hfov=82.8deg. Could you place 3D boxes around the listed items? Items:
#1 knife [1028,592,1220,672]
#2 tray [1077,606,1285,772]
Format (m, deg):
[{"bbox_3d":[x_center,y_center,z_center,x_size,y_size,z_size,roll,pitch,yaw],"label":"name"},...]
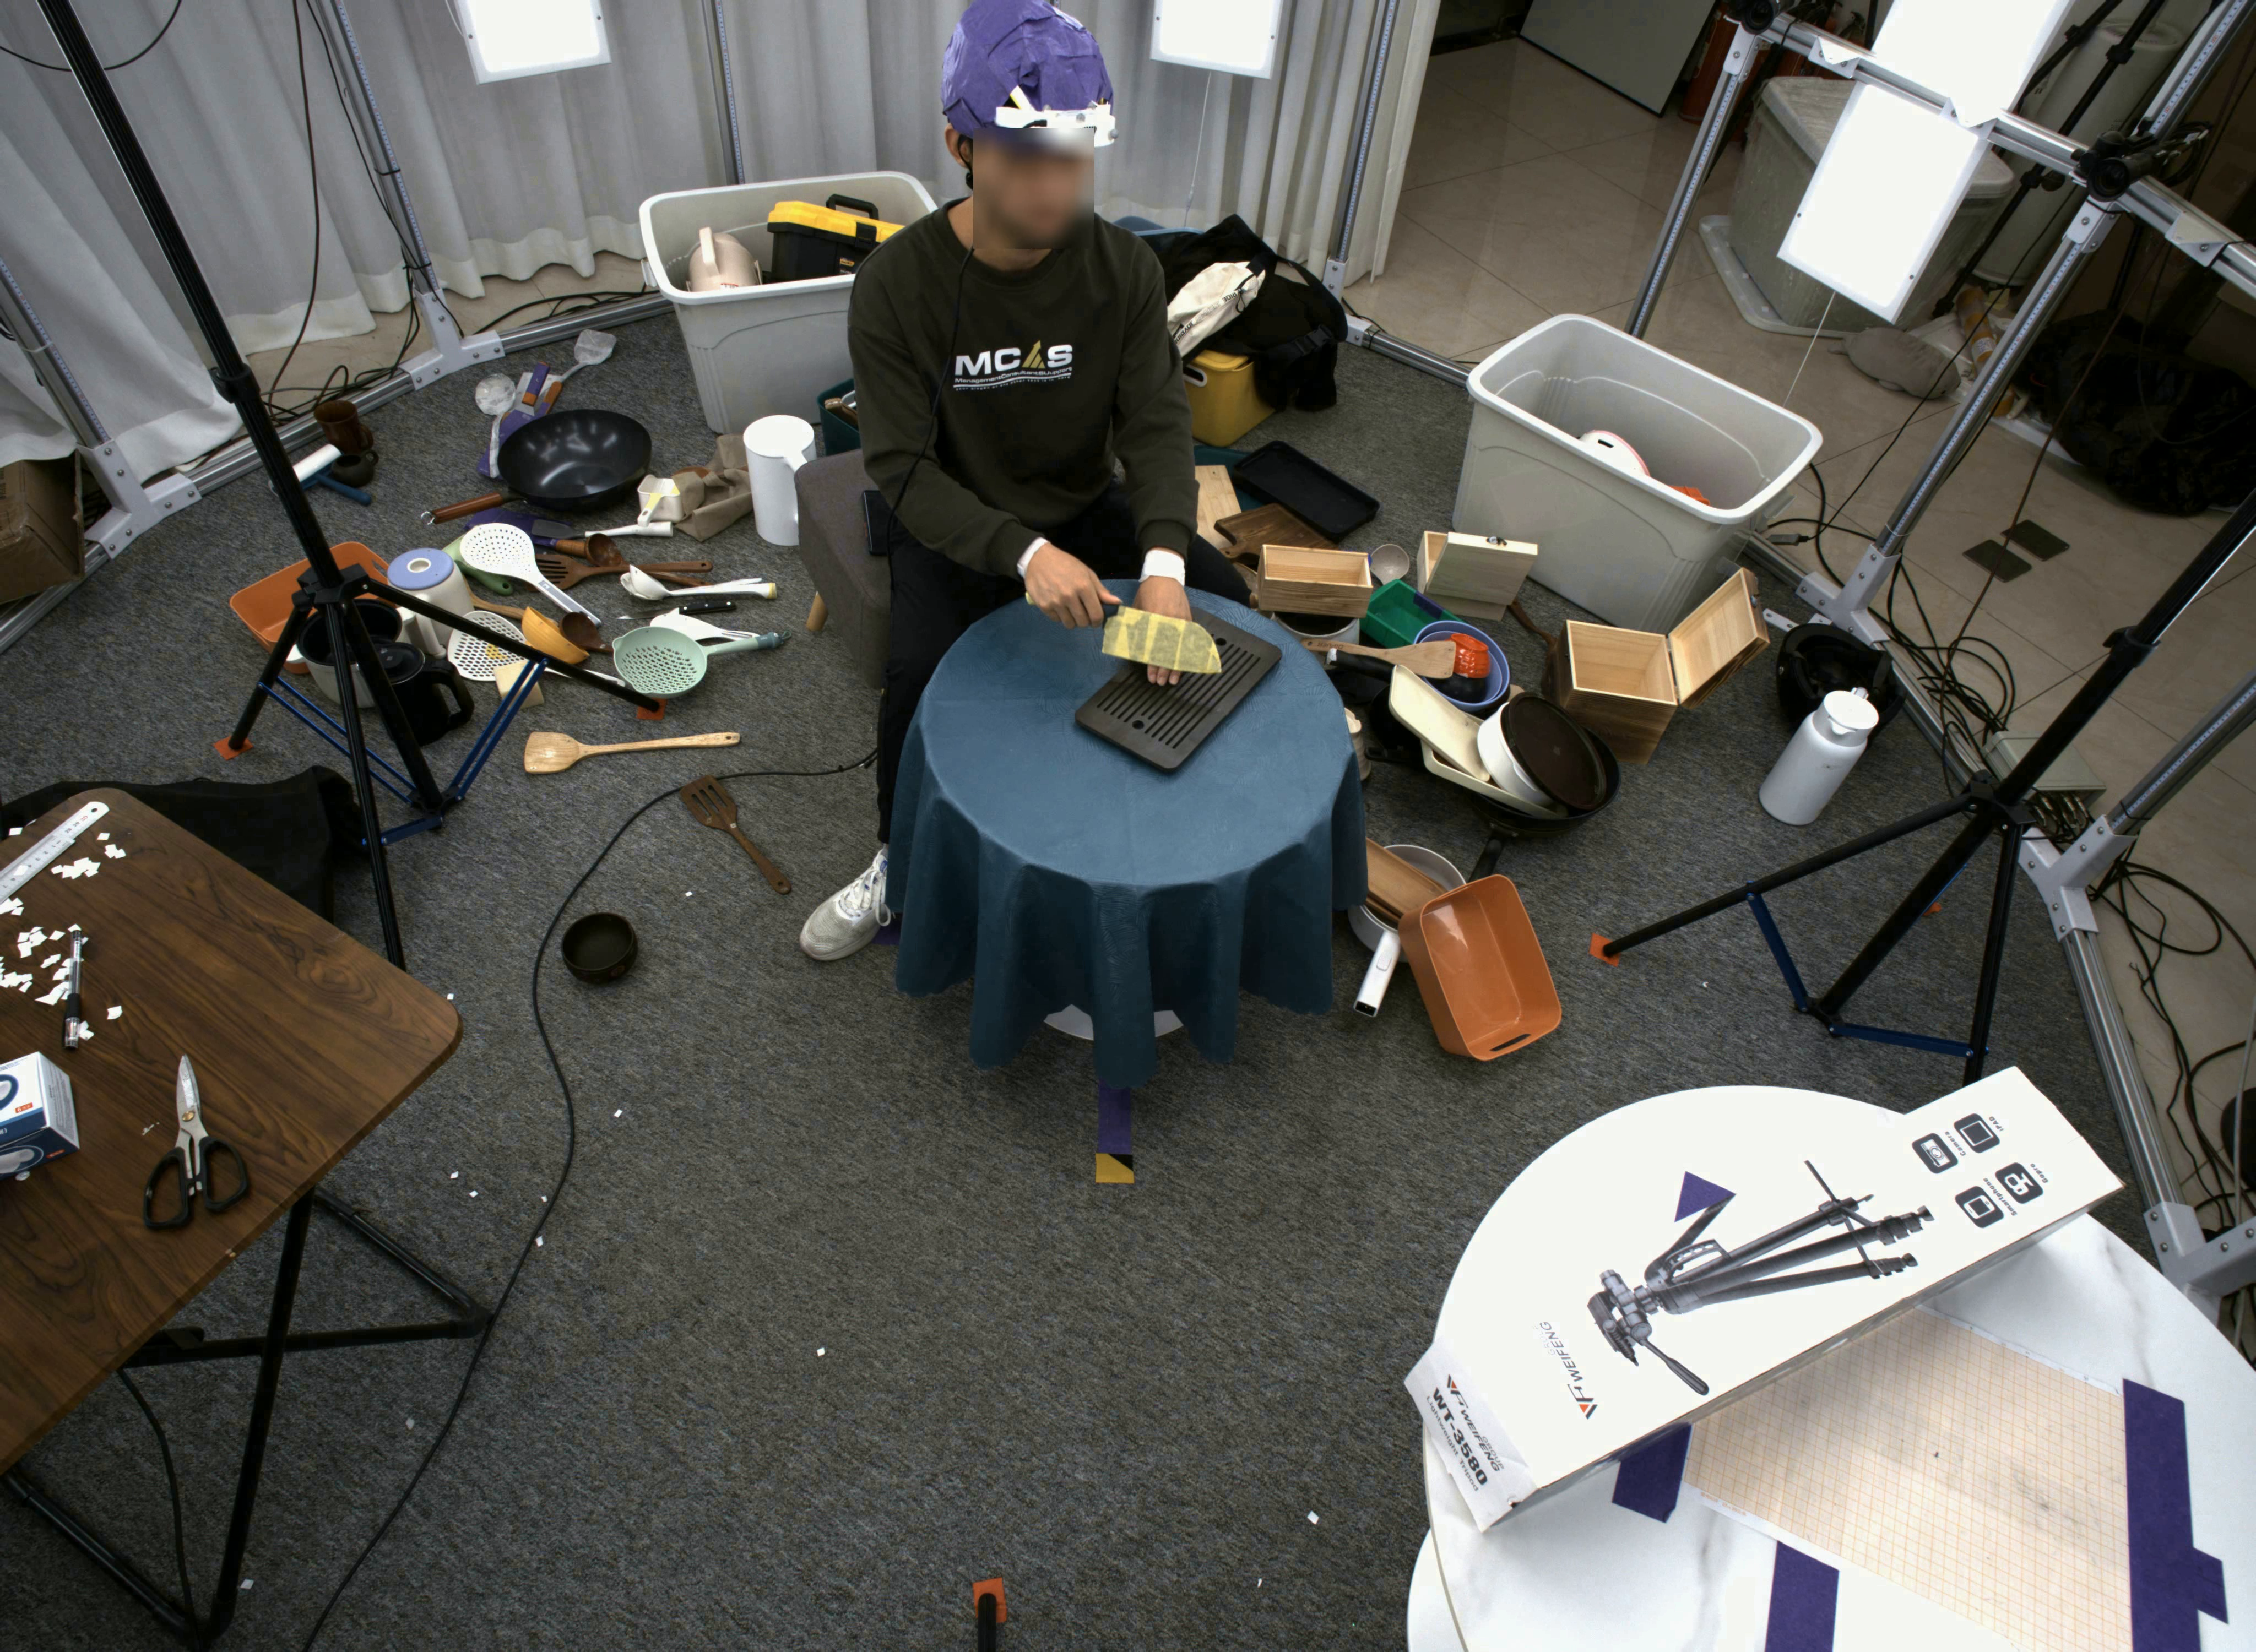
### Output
[{"bbox_3d":[-0.007,-0.274,1.808,0.290,0.080,0.027,18,21,11],"label":"knife"},{"bbox_3d":[0.079,-0.199,1.833,0.172,0.018,0.310,29,53,21],"label":"tray"}]
